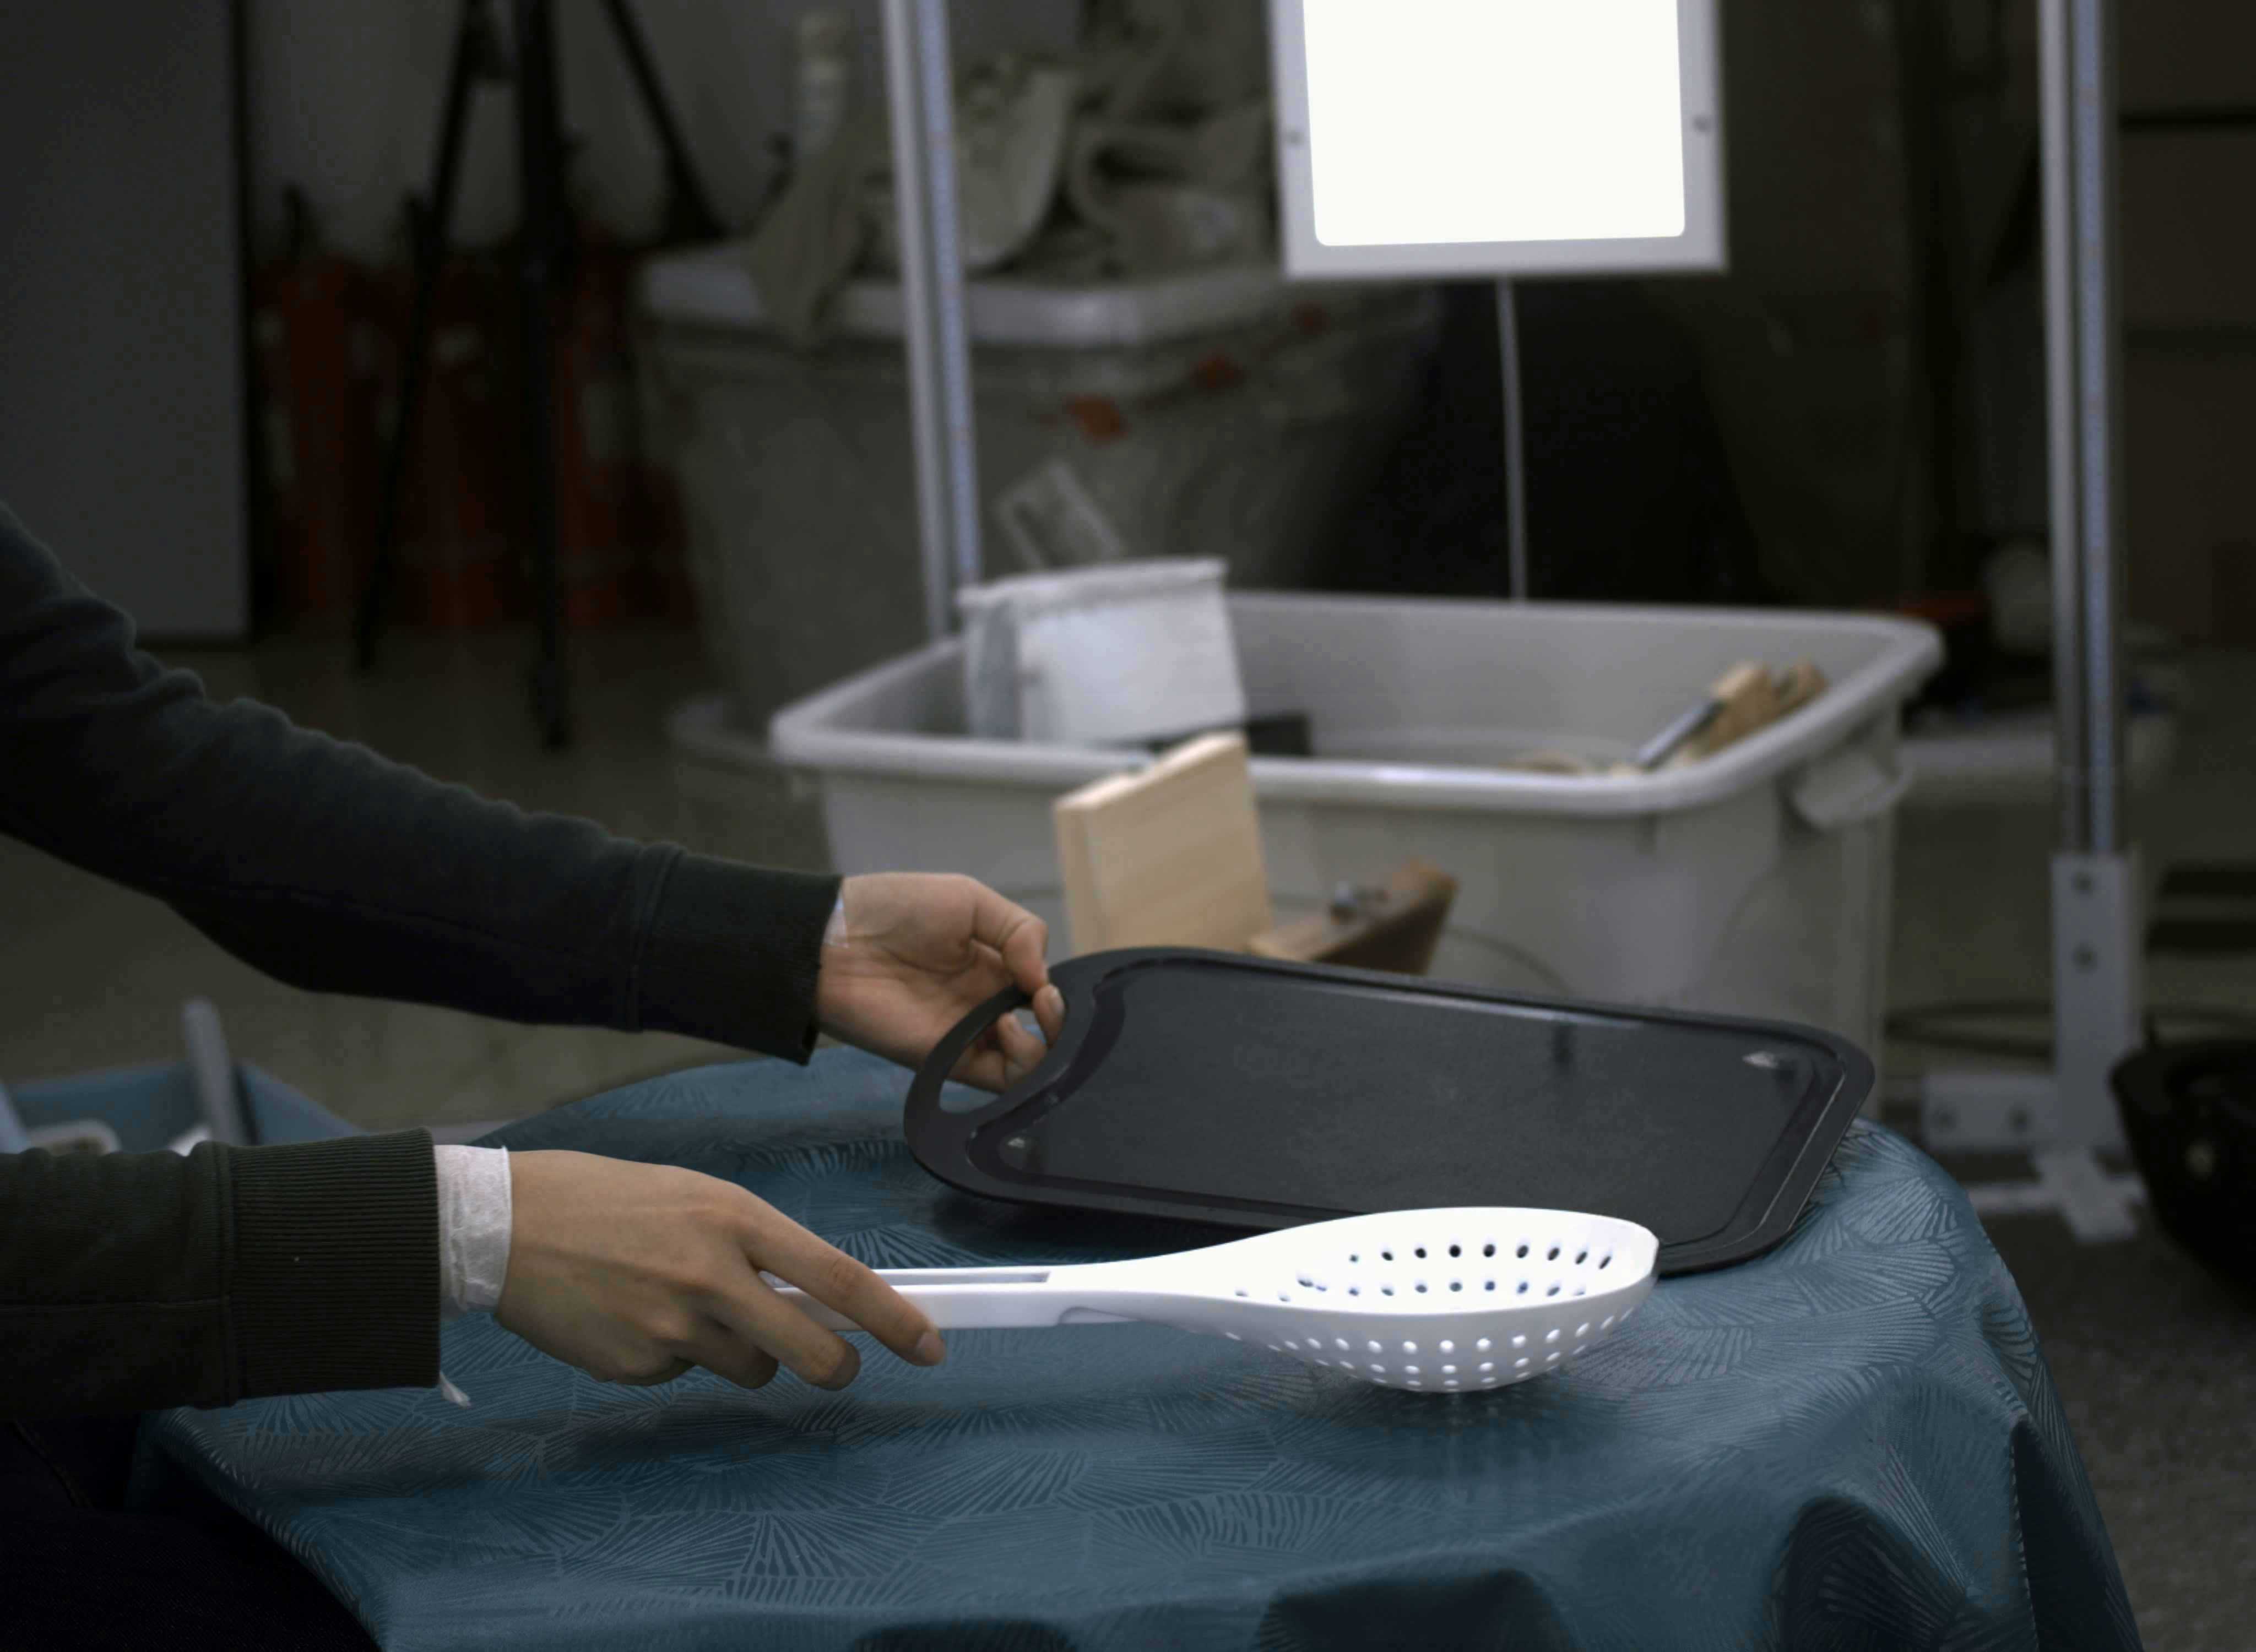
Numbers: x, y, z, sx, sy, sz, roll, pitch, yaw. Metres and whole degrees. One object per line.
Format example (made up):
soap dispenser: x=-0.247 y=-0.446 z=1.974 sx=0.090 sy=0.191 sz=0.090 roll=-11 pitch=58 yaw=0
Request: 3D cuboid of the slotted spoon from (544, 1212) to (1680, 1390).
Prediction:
slotted spoon: x=-0.006 y=0.142 z=1.690 sx=0.351 sy=0.046 sz=0.135 roll=2 pitch=8 yaw=7

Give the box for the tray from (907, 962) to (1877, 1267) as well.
tray: x=0.086 y=0.095 z=1.896 sx=0.330 sy=0.010 sz=0.207 roll=5 pitch=22 yaw=21
